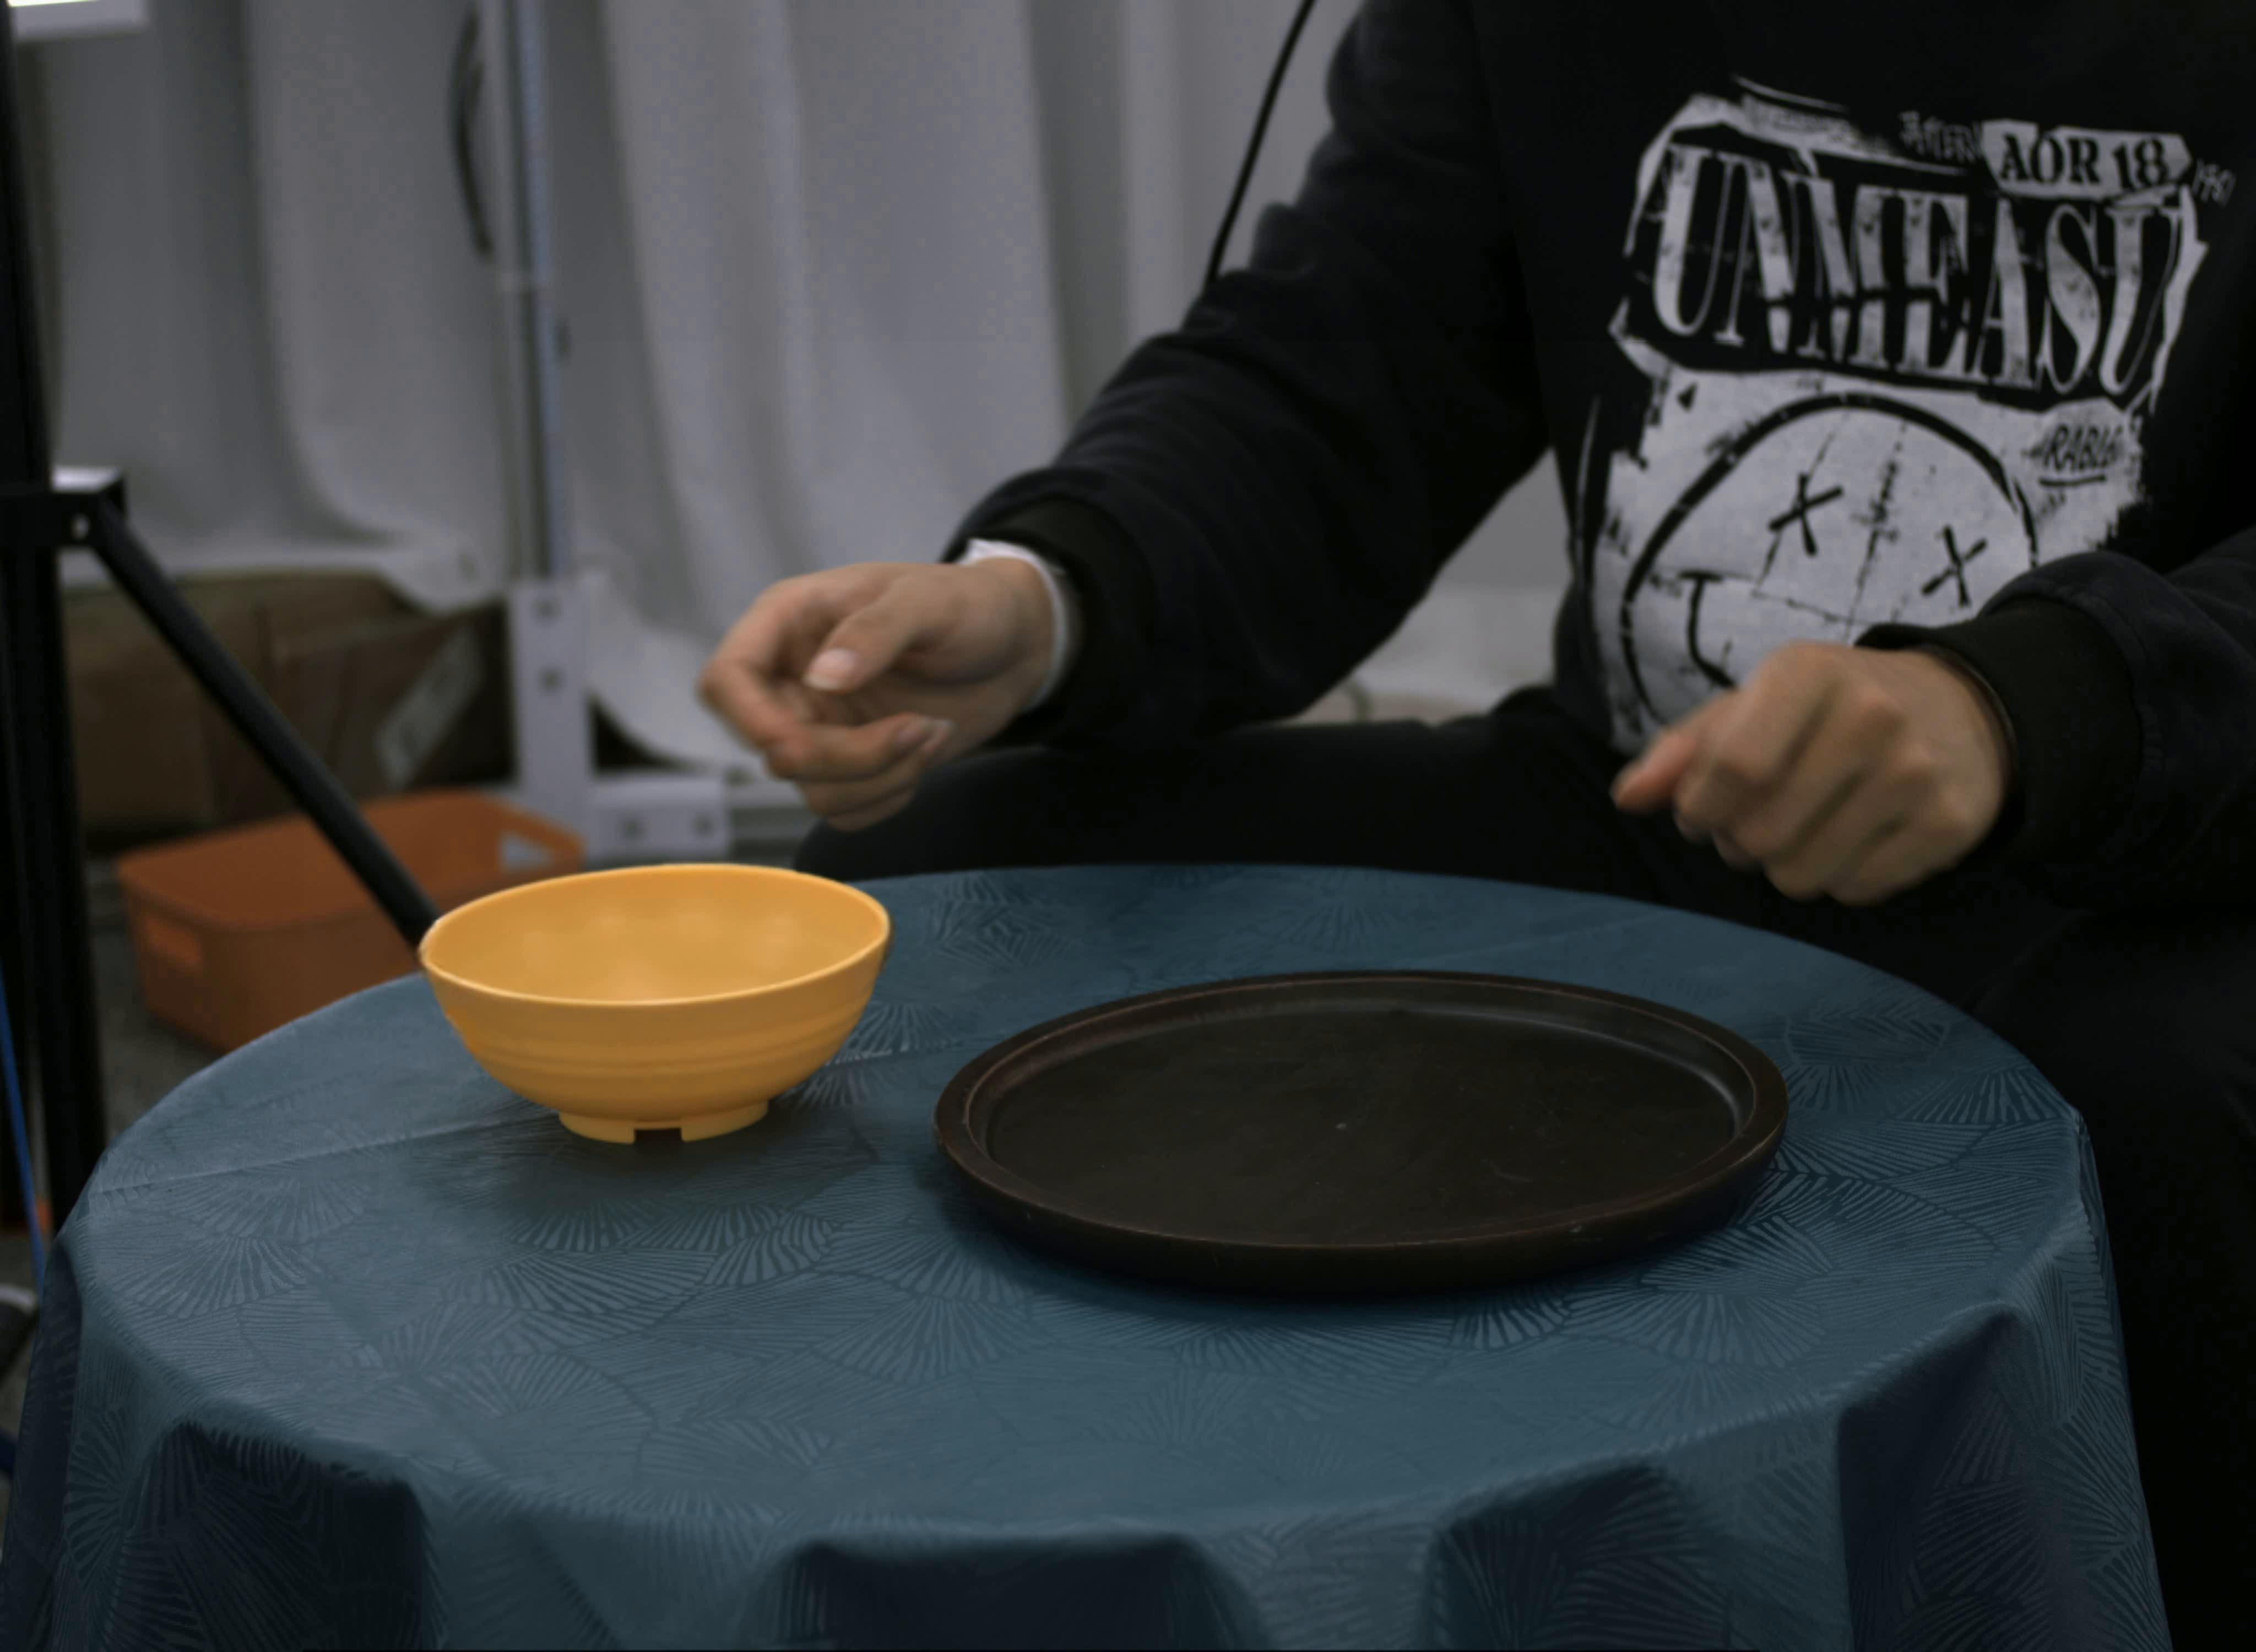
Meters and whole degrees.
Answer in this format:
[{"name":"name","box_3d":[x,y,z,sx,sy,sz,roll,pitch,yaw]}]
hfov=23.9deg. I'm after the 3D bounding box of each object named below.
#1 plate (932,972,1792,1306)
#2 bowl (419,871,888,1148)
[{"name":"plate","box_3d":[0.069,0.090,1.567,0.253,0.029,0.256,-4,14,0]},{"name":"bowl","box_3d":[-0.146,0.061,1.646,0.144,0.060,0.146,0,15,-1]}]
